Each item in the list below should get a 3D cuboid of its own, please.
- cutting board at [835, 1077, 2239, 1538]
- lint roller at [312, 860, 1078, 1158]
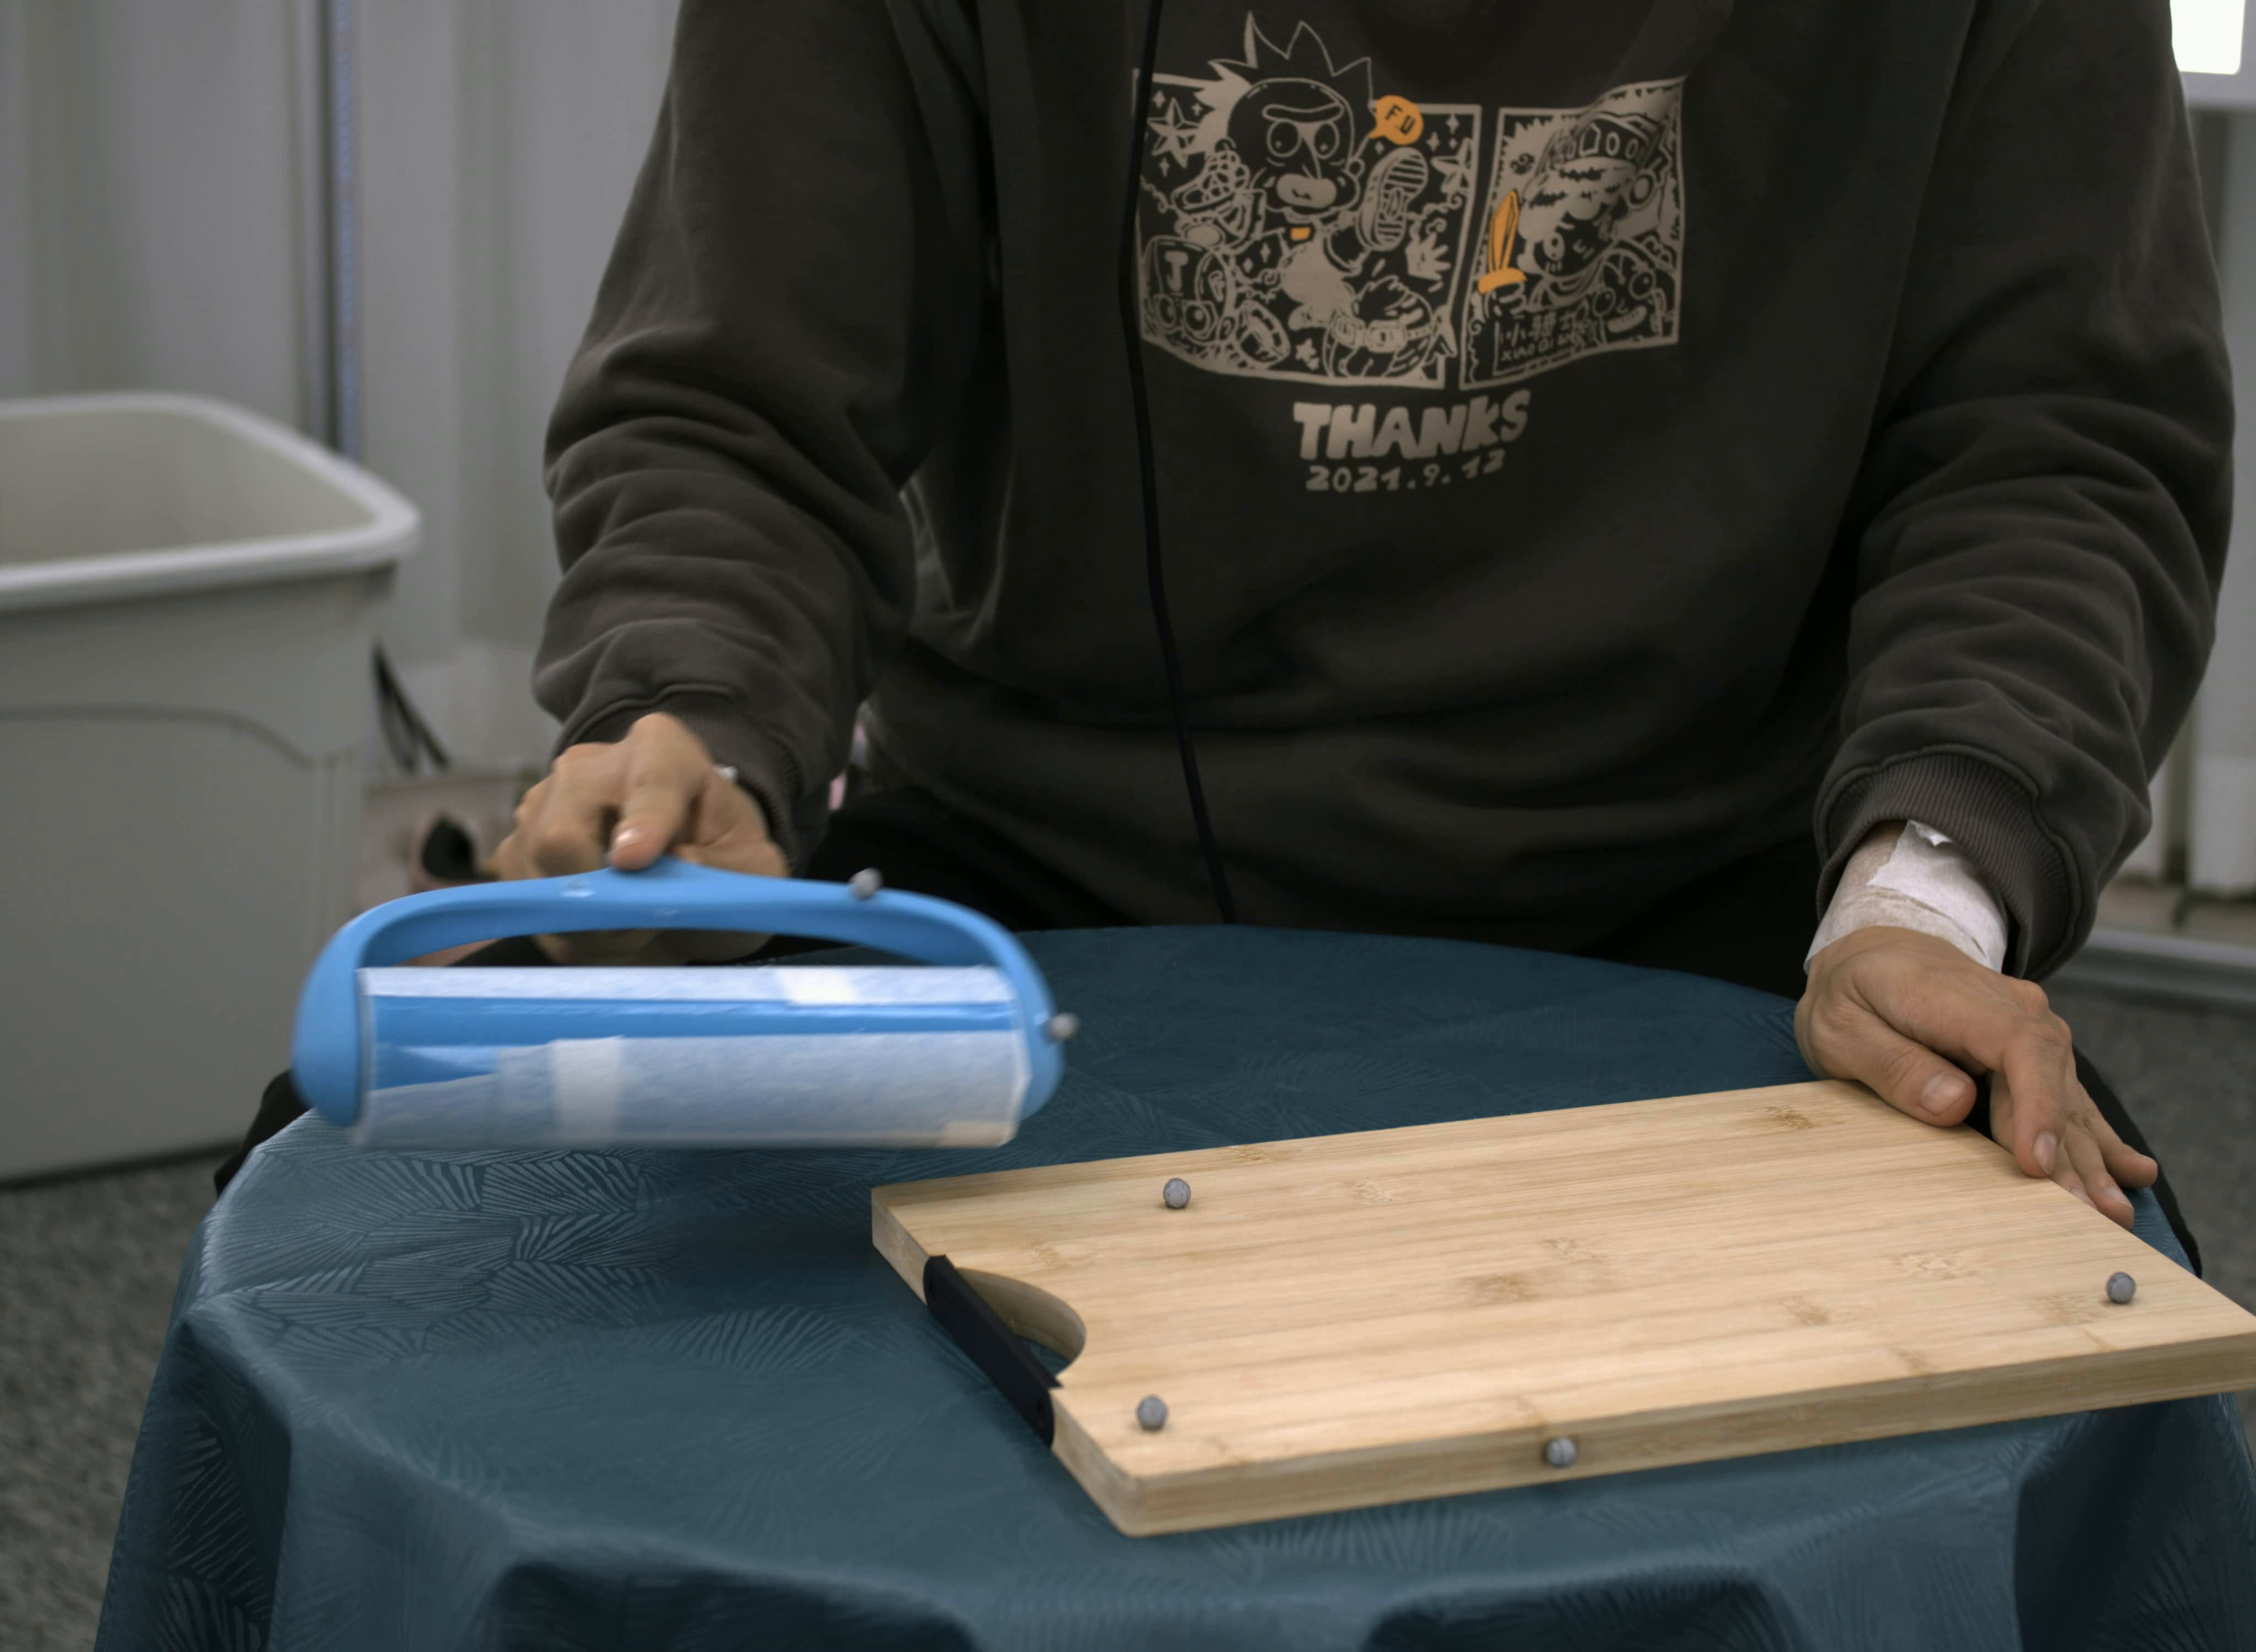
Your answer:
[{"bbox_3d":[0.114,0.134,1.528,0.349,0.024,0.248,-5,16,-20],"label":"cutting board"},{"bbox_3d":[-0.143,0.042,1.595,0.229,0.068,0.178,-2,26,-20],"label":"lint roller"}]
